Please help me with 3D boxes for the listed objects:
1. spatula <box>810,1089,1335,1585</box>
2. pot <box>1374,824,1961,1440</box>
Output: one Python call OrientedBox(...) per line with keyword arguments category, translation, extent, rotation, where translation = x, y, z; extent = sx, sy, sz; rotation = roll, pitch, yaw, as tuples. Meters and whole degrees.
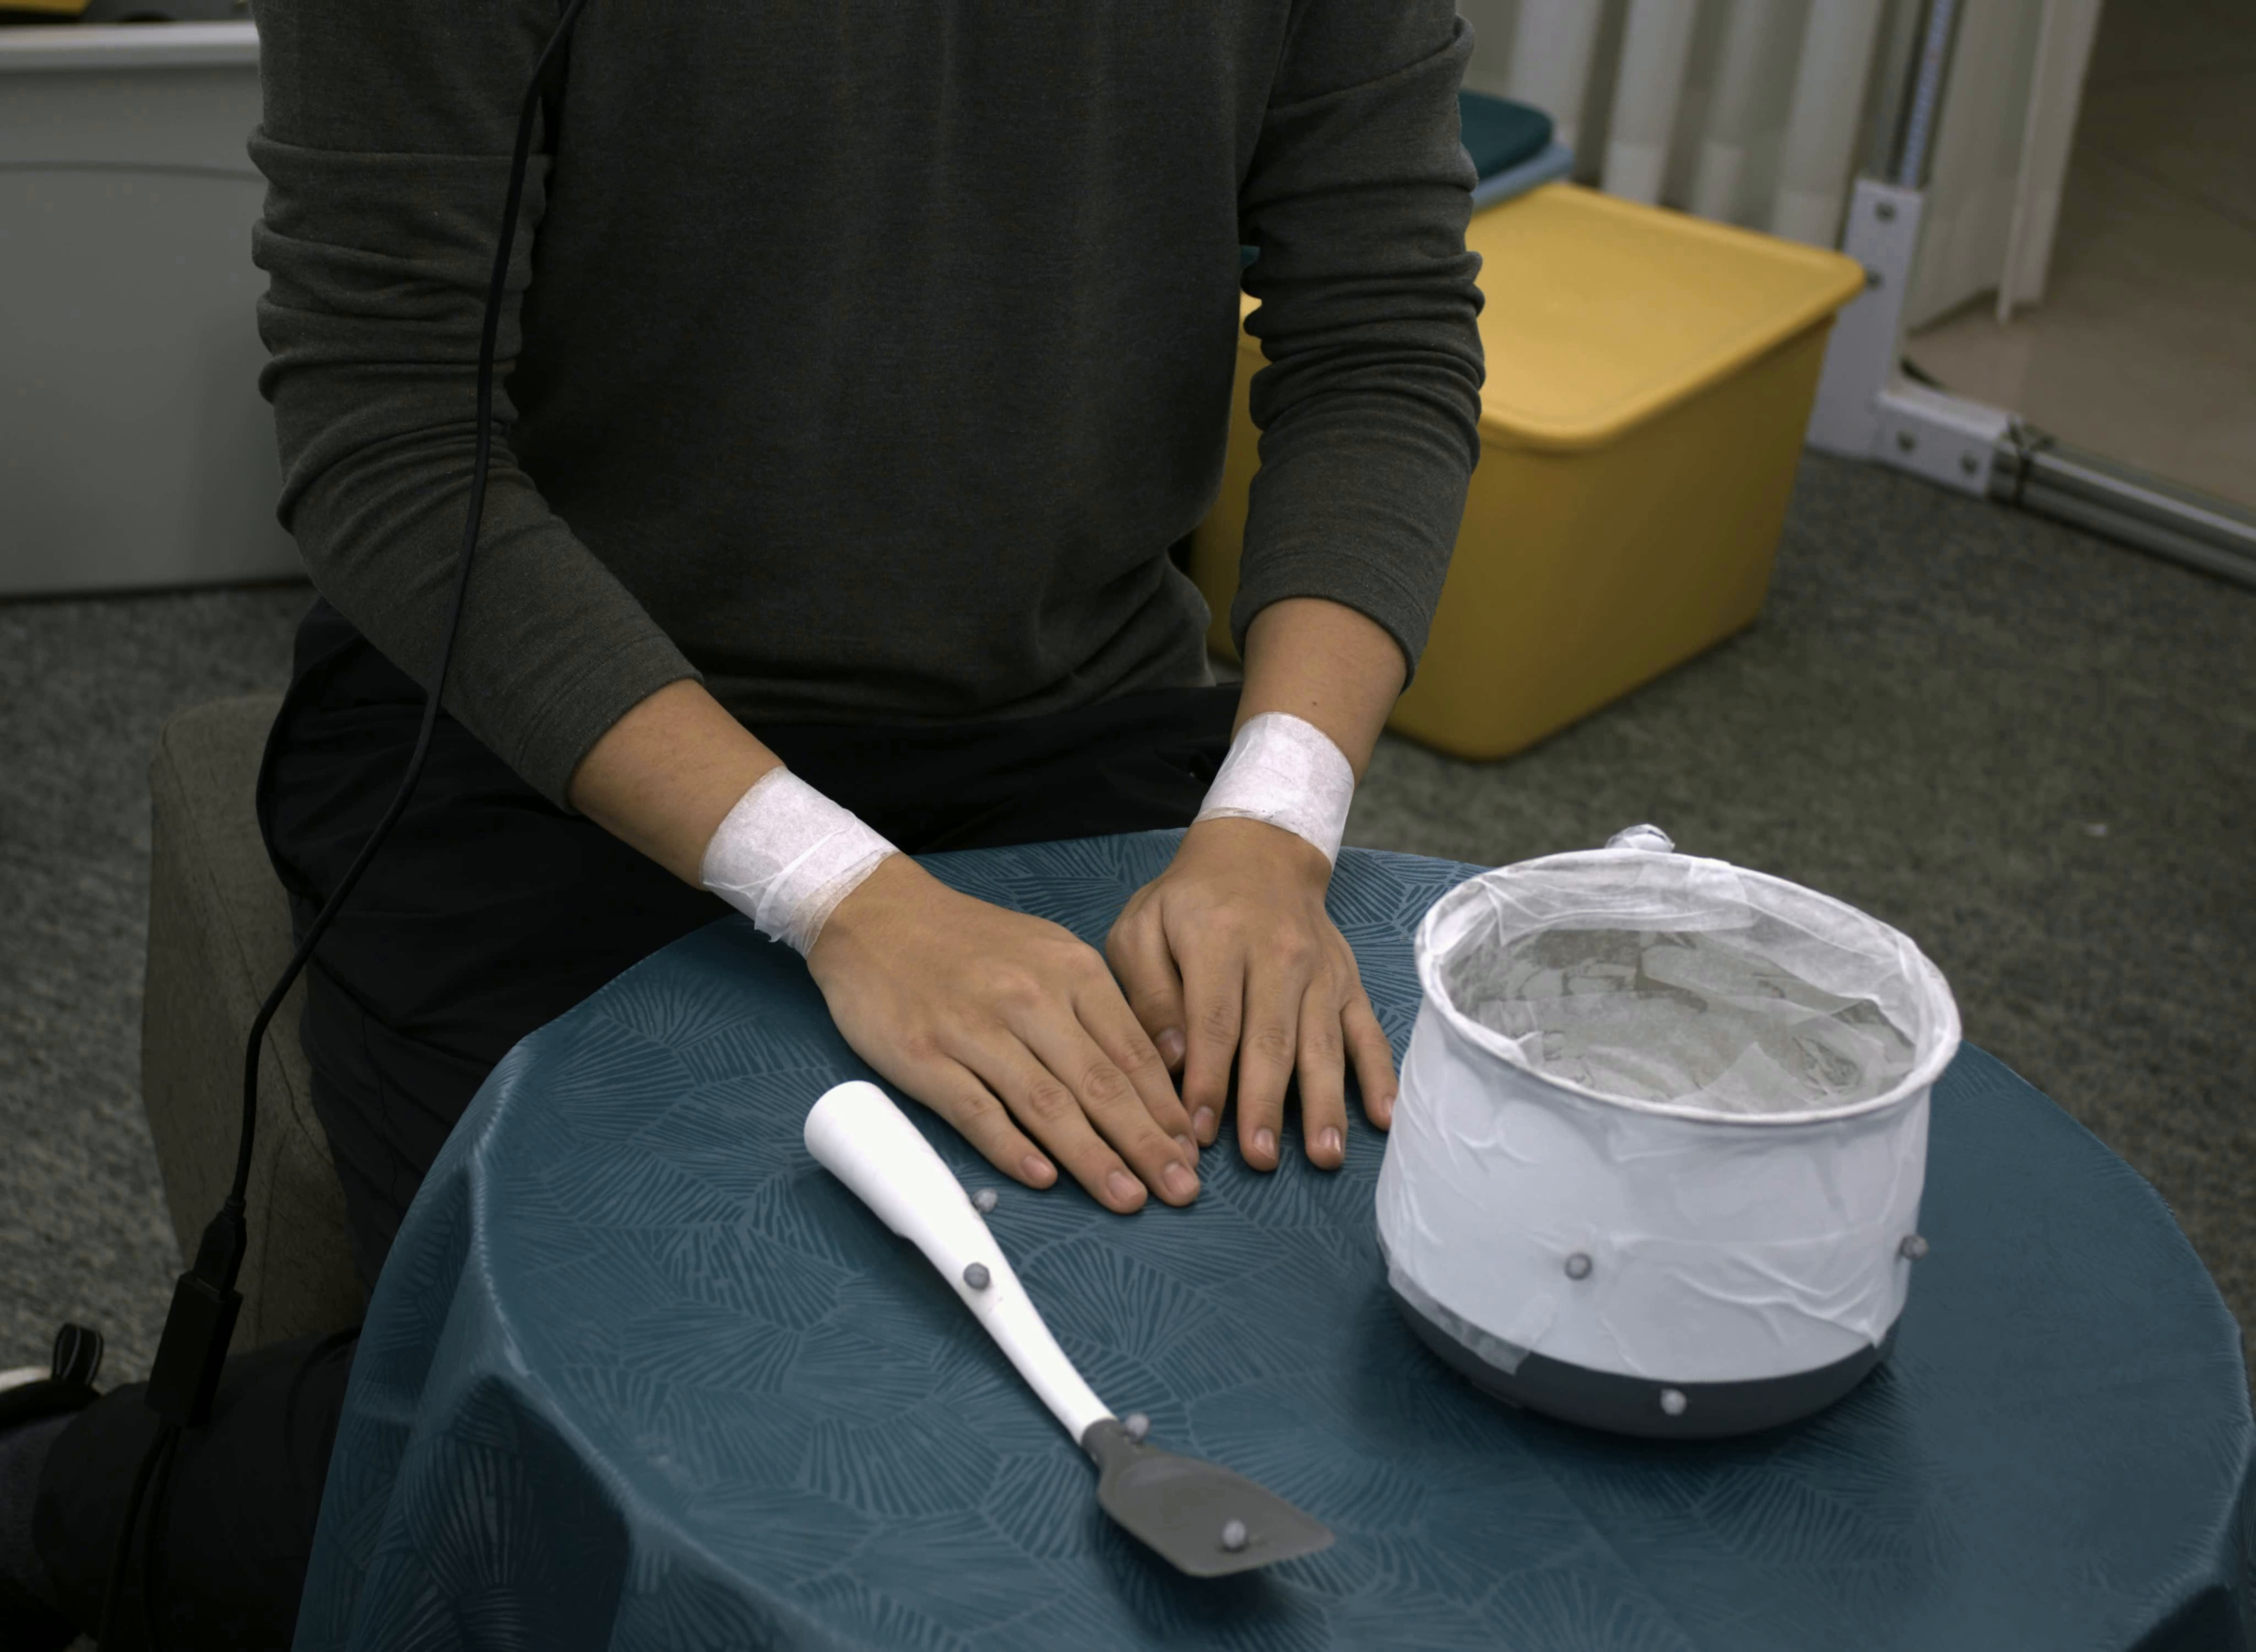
OrientedBox(category="spatula", translation=(-0.026, 0.165, 1.683), extent=(0.058, 0.032, 0.290), rotation=(-5, 28, -29))
OrientedBox(category="pot", translation=(0.170, 0.093, 1.754), extent=(0.178, 0.136, 0.235), rotation=(4, 26, -6))
